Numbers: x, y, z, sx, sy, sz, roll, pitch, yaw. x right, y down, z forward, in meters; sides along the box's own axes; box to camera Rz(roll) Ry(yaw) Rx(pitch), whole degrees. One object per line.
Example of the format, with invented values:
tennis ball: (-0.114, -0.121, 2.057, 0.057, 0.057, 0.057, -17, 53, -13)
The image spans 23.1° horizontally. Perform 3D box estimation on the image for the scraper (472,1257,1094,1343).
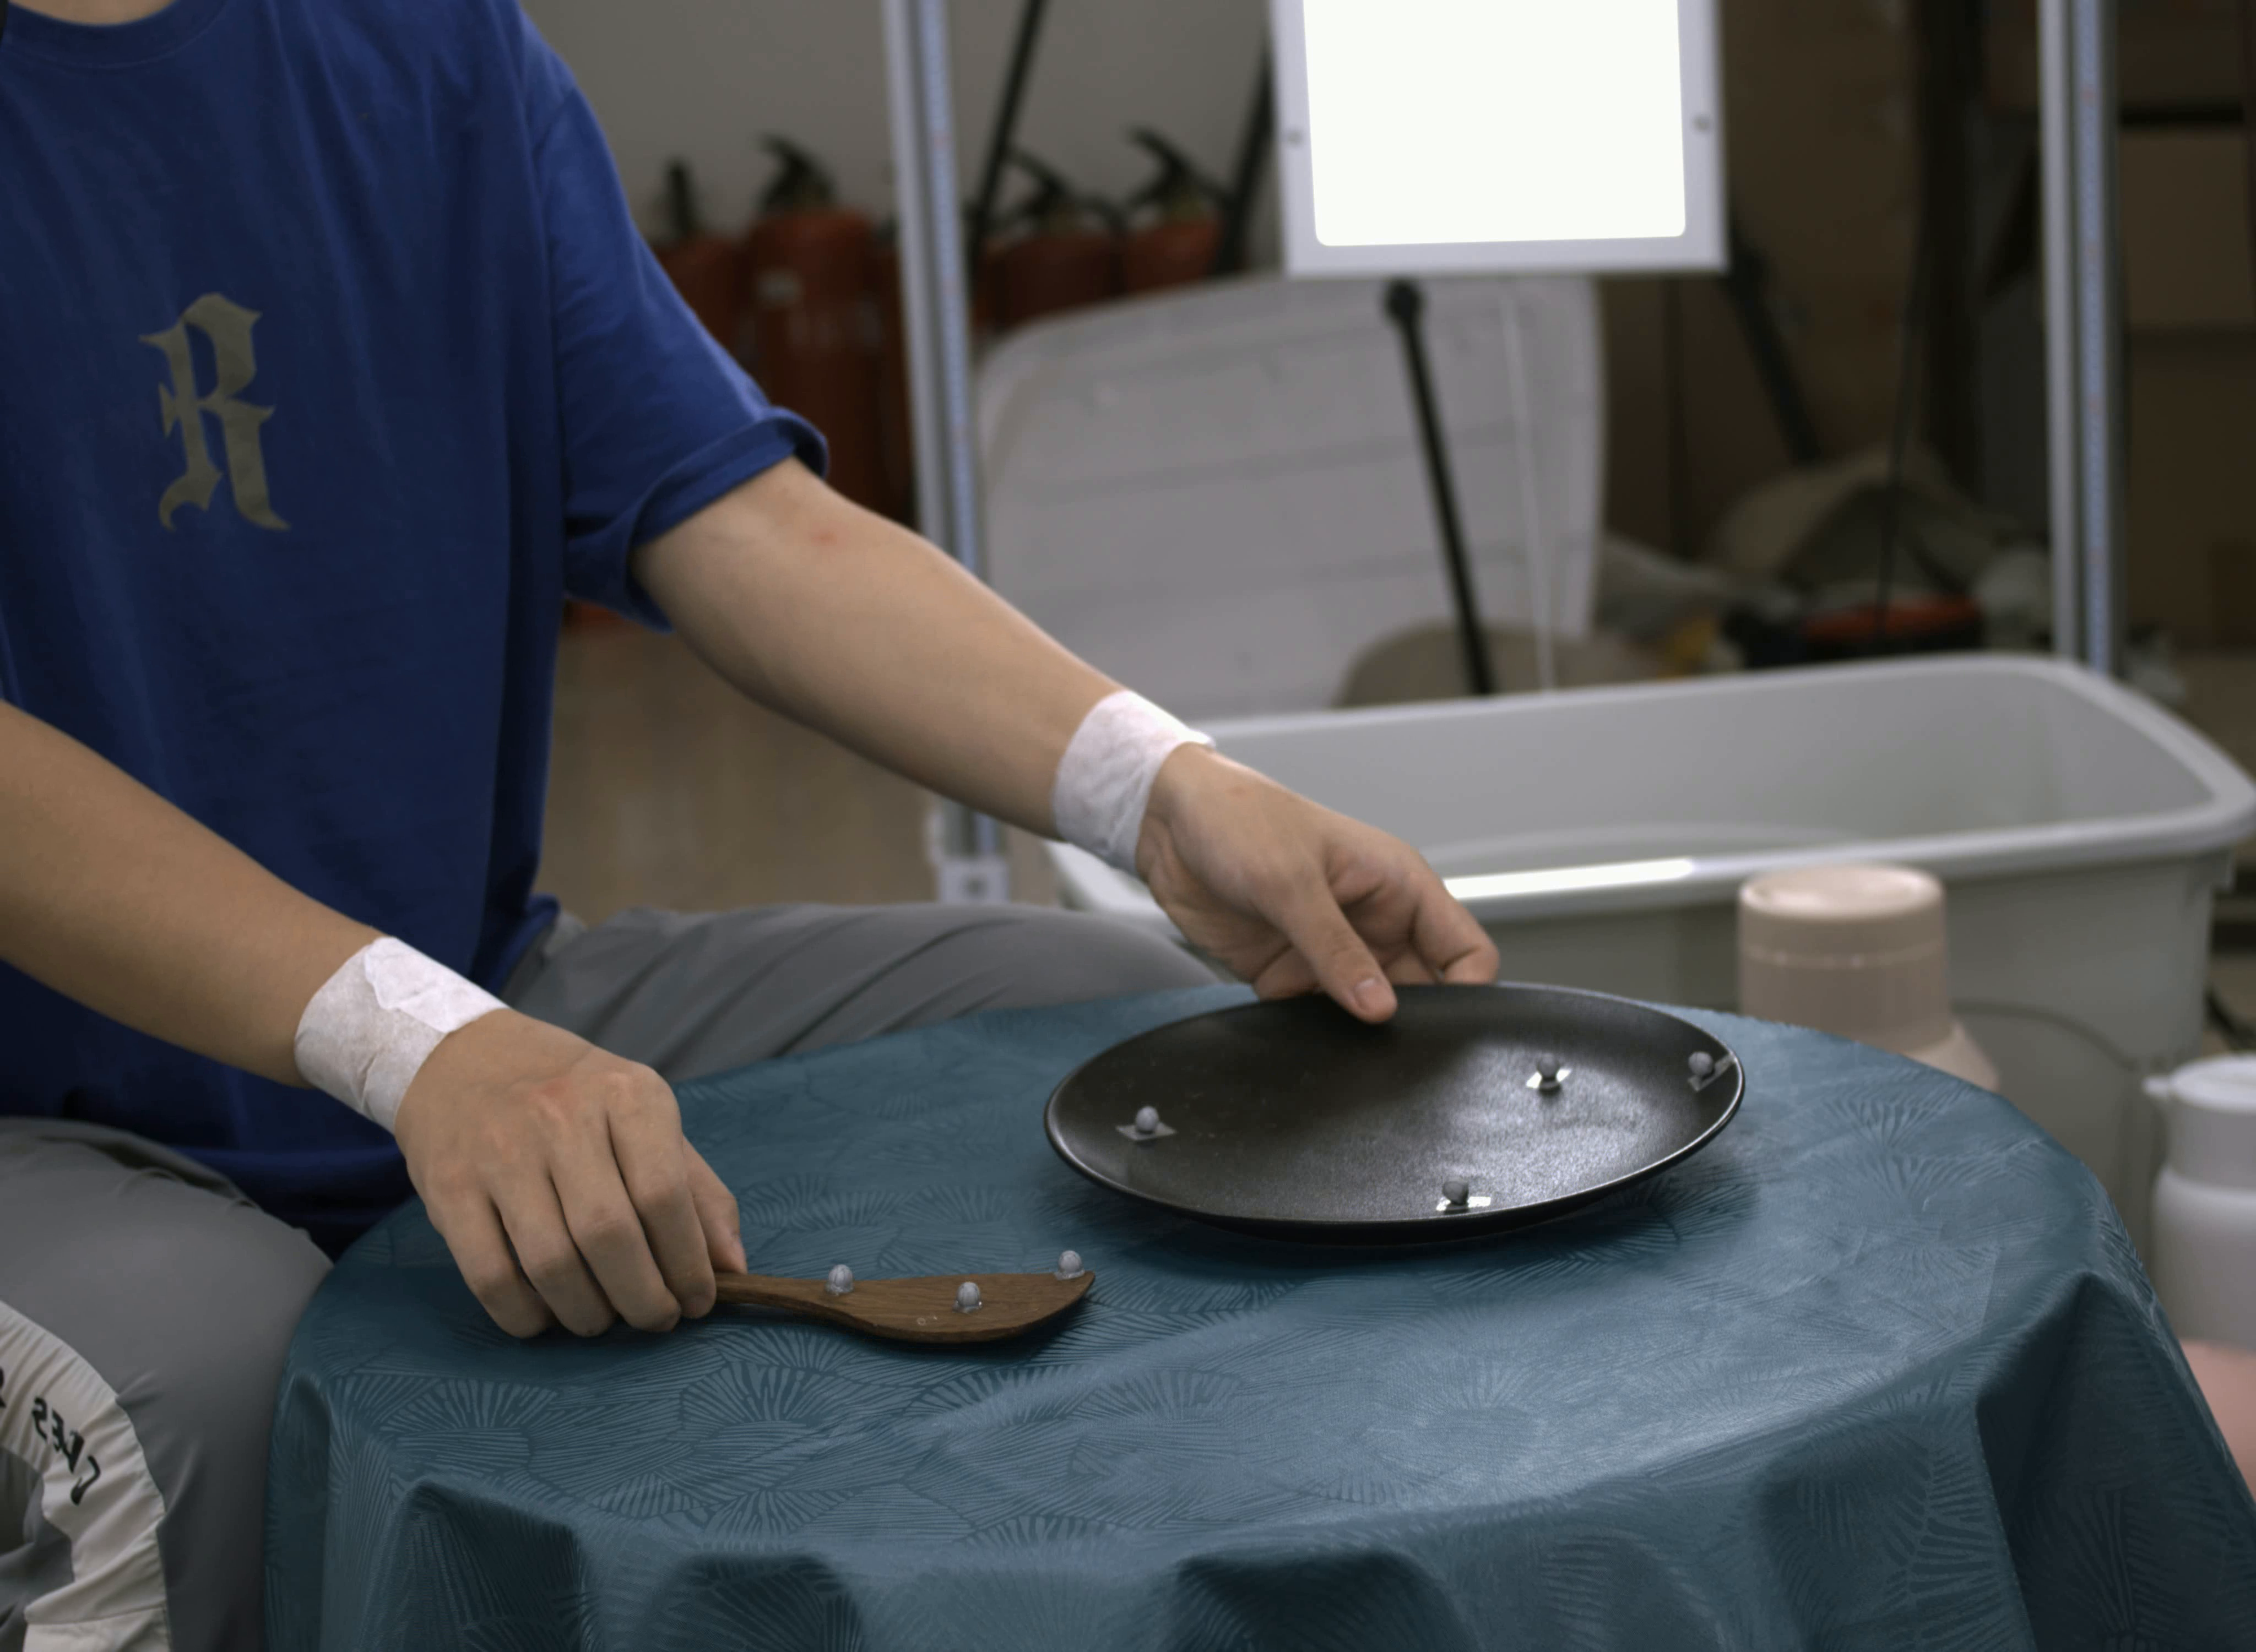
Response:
scraper: (-0.116, 0.152, 1.803, 0.214, 0.011, 0.074, 2, 12, 21)

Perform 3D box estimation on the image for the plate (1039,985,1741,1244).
plate: (0.091, 0.102, 1.898, 0.244, 0.023, 0.244, -5, 16, 0)
